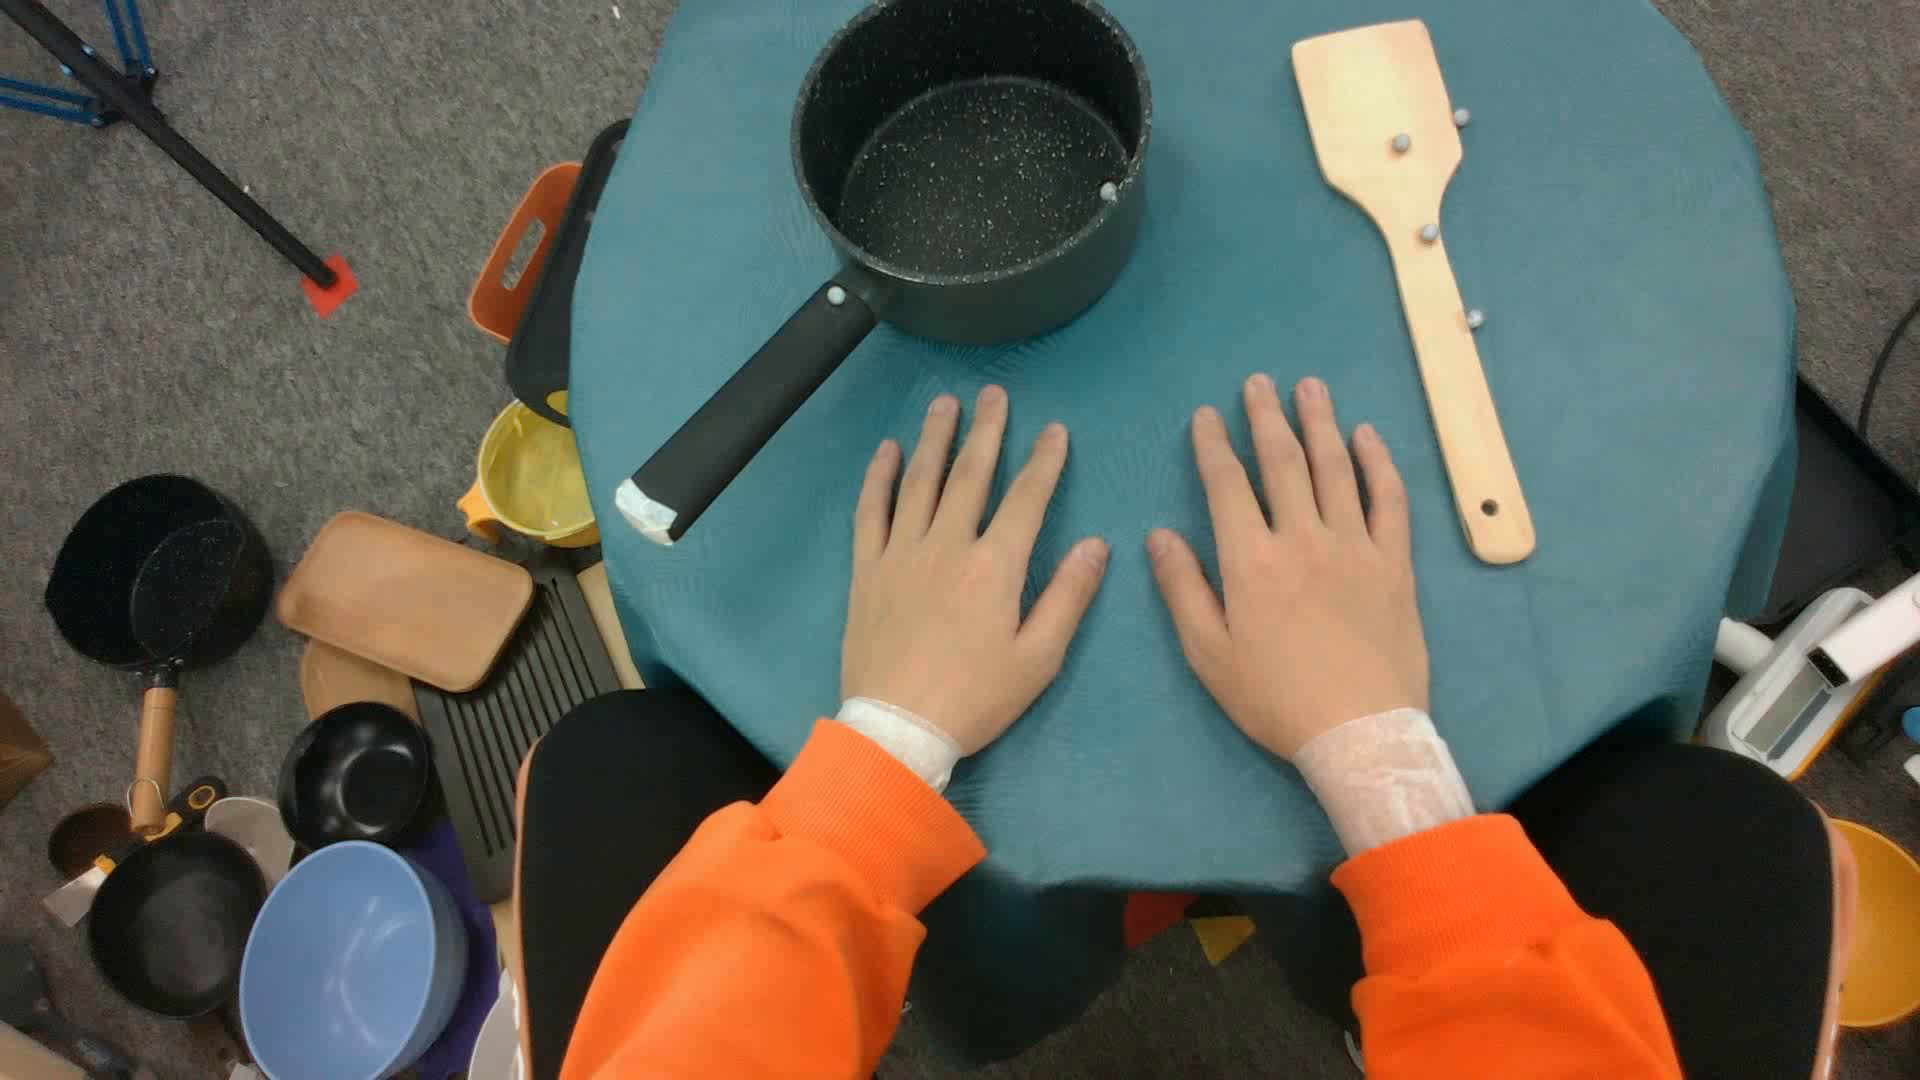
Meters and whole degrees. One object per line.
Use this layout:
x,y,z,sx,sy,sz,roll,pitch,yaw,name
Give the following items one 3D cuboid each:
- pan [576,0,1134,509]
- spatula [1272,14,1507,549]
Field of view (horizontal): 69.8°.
-0.050,-0.133,0.662,0.172,0.086,0.329,36,77,18,pan
0.216,-0.132,0.667,0.072,0.010,0.294,-8,70,1,spatula
